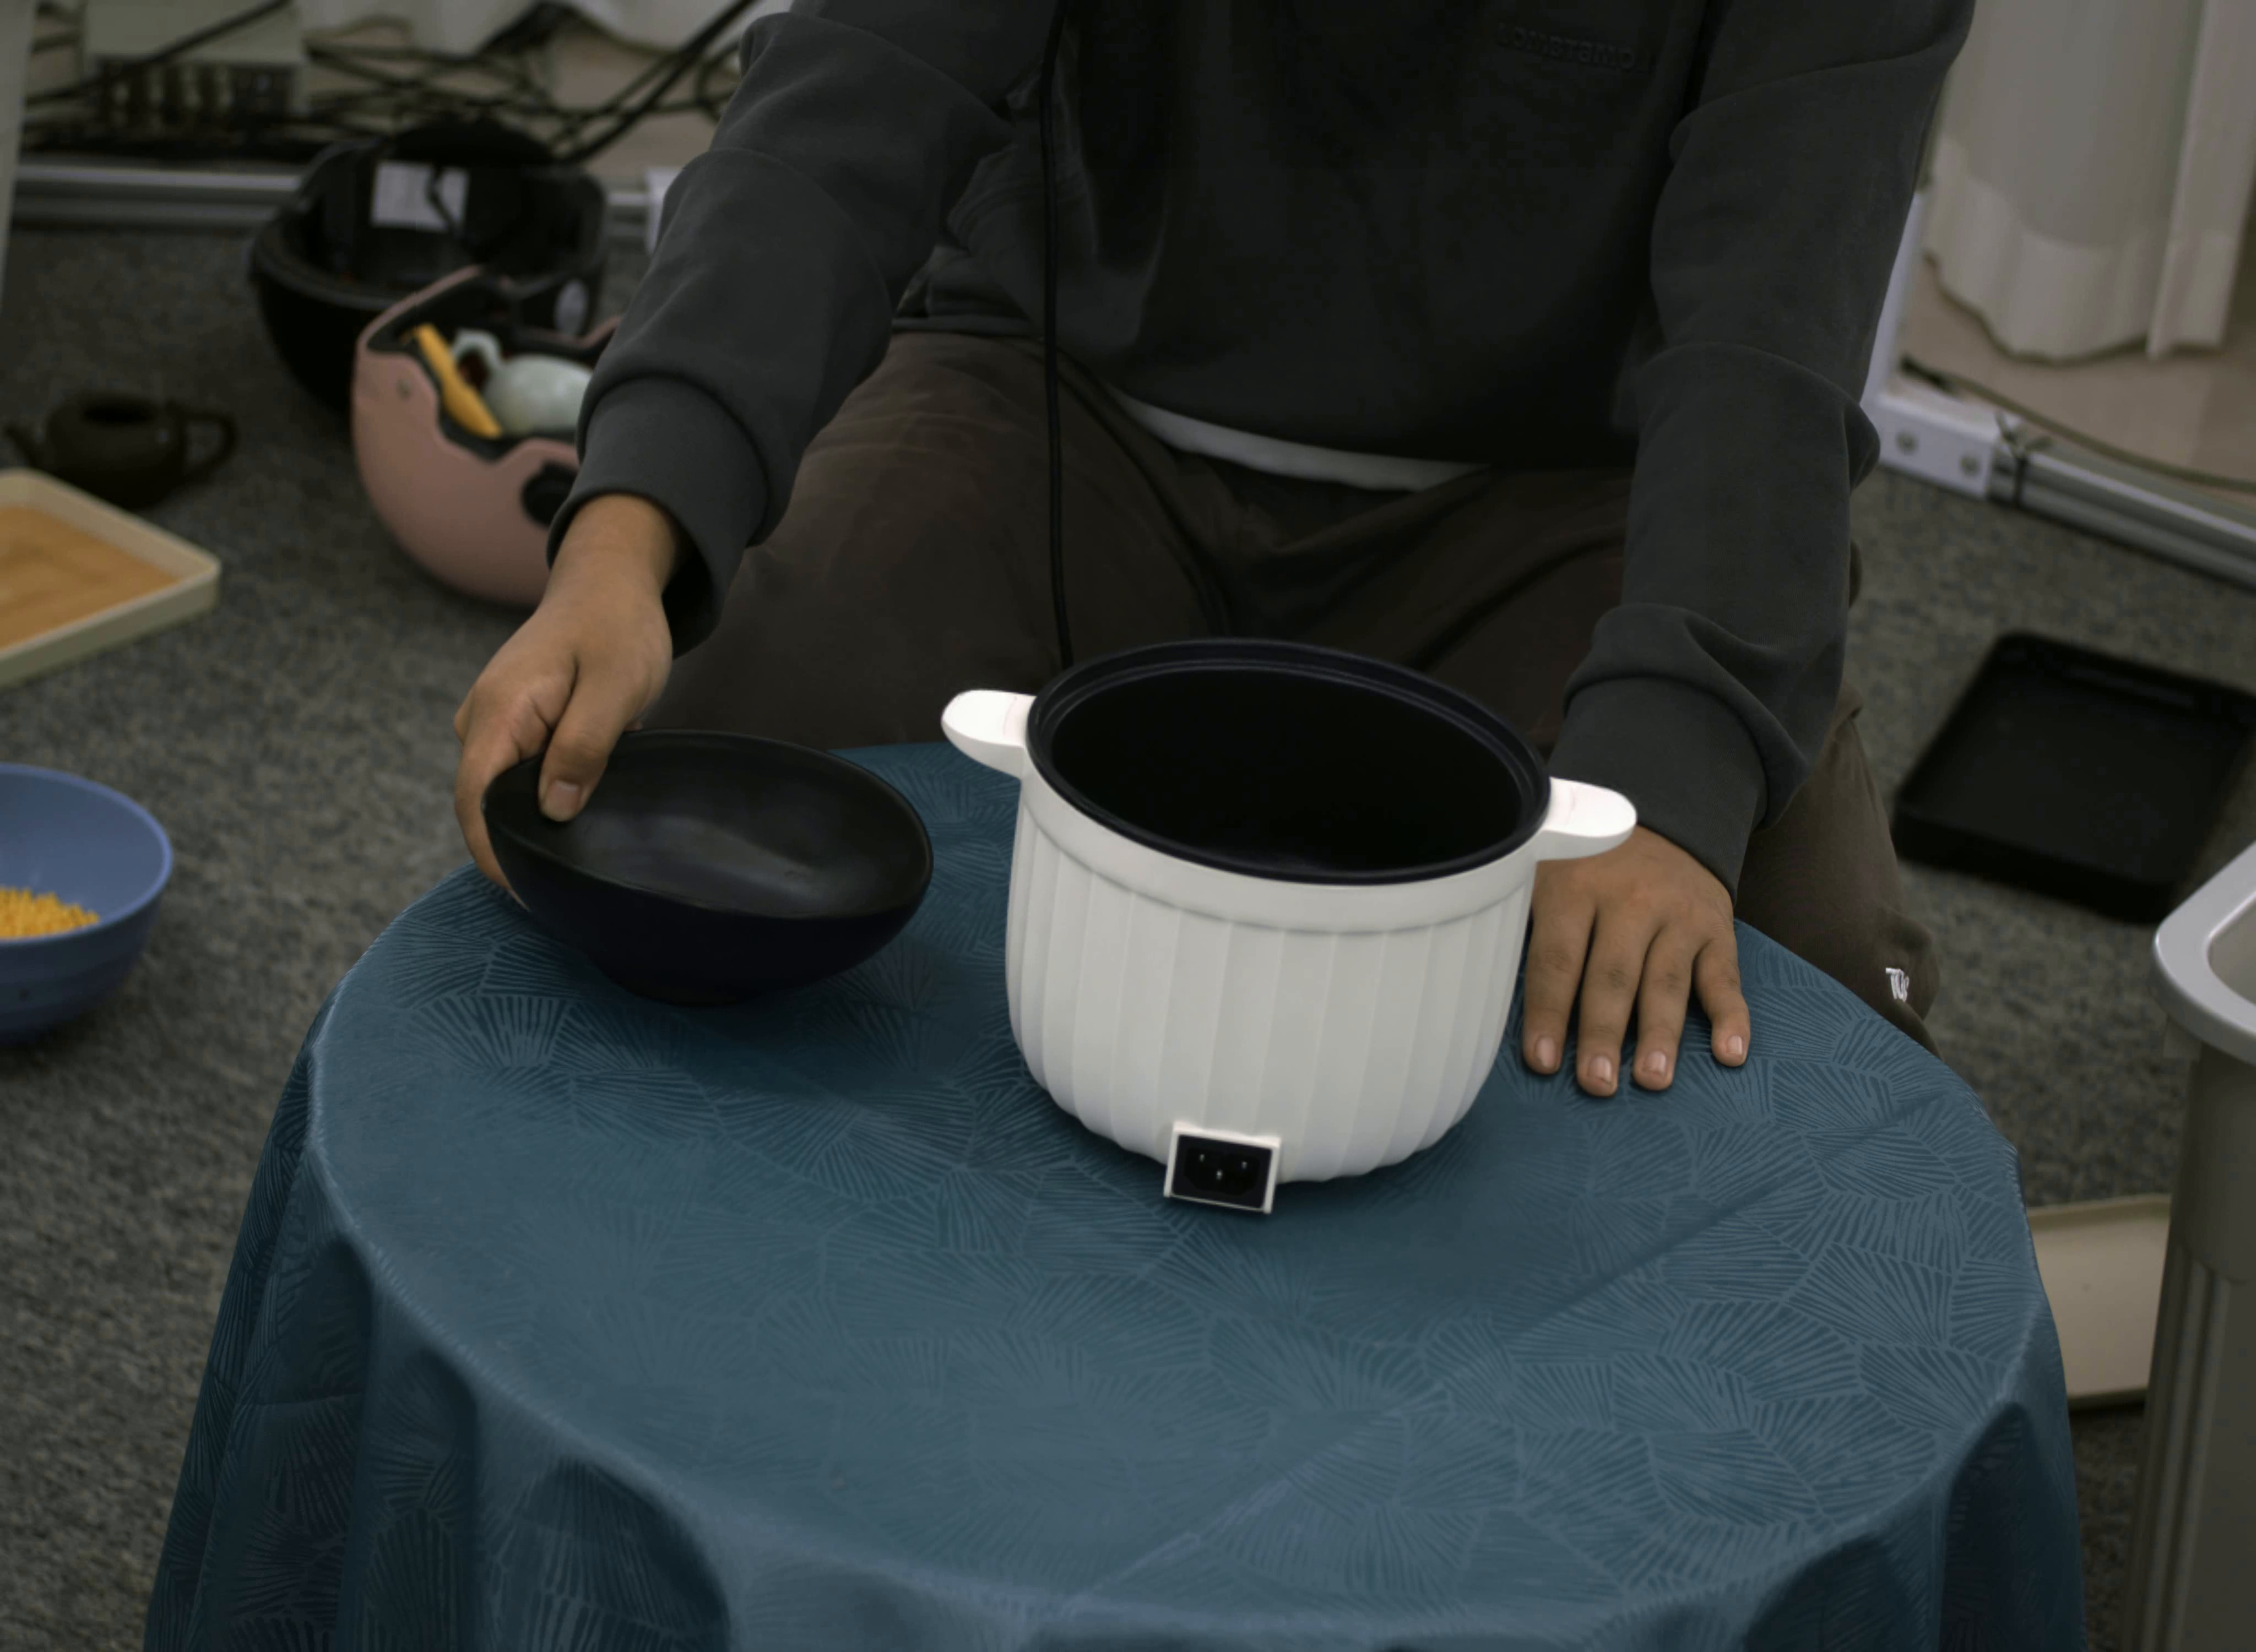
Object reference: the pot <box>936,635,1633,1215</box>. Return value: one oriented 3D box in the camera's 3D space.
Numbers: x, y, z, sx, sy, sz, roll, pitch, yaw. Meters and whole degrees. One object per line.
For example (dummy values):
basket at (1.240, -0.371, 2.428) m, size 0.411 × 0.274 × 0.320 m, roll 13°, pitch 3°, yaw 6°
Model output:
pot at (0.046, 0.031, 1.848) m, size 0.240 × 0.142 × 0.191 m, roll 9°, pitch 30°, yaw 2°

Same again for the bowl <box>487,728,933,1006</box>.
bowl at (-0.152, 0.022, 1.900) m, size 0.171 × 0.066 × 0.137 m, roll 17°, pitch 28°, yaw 22°
